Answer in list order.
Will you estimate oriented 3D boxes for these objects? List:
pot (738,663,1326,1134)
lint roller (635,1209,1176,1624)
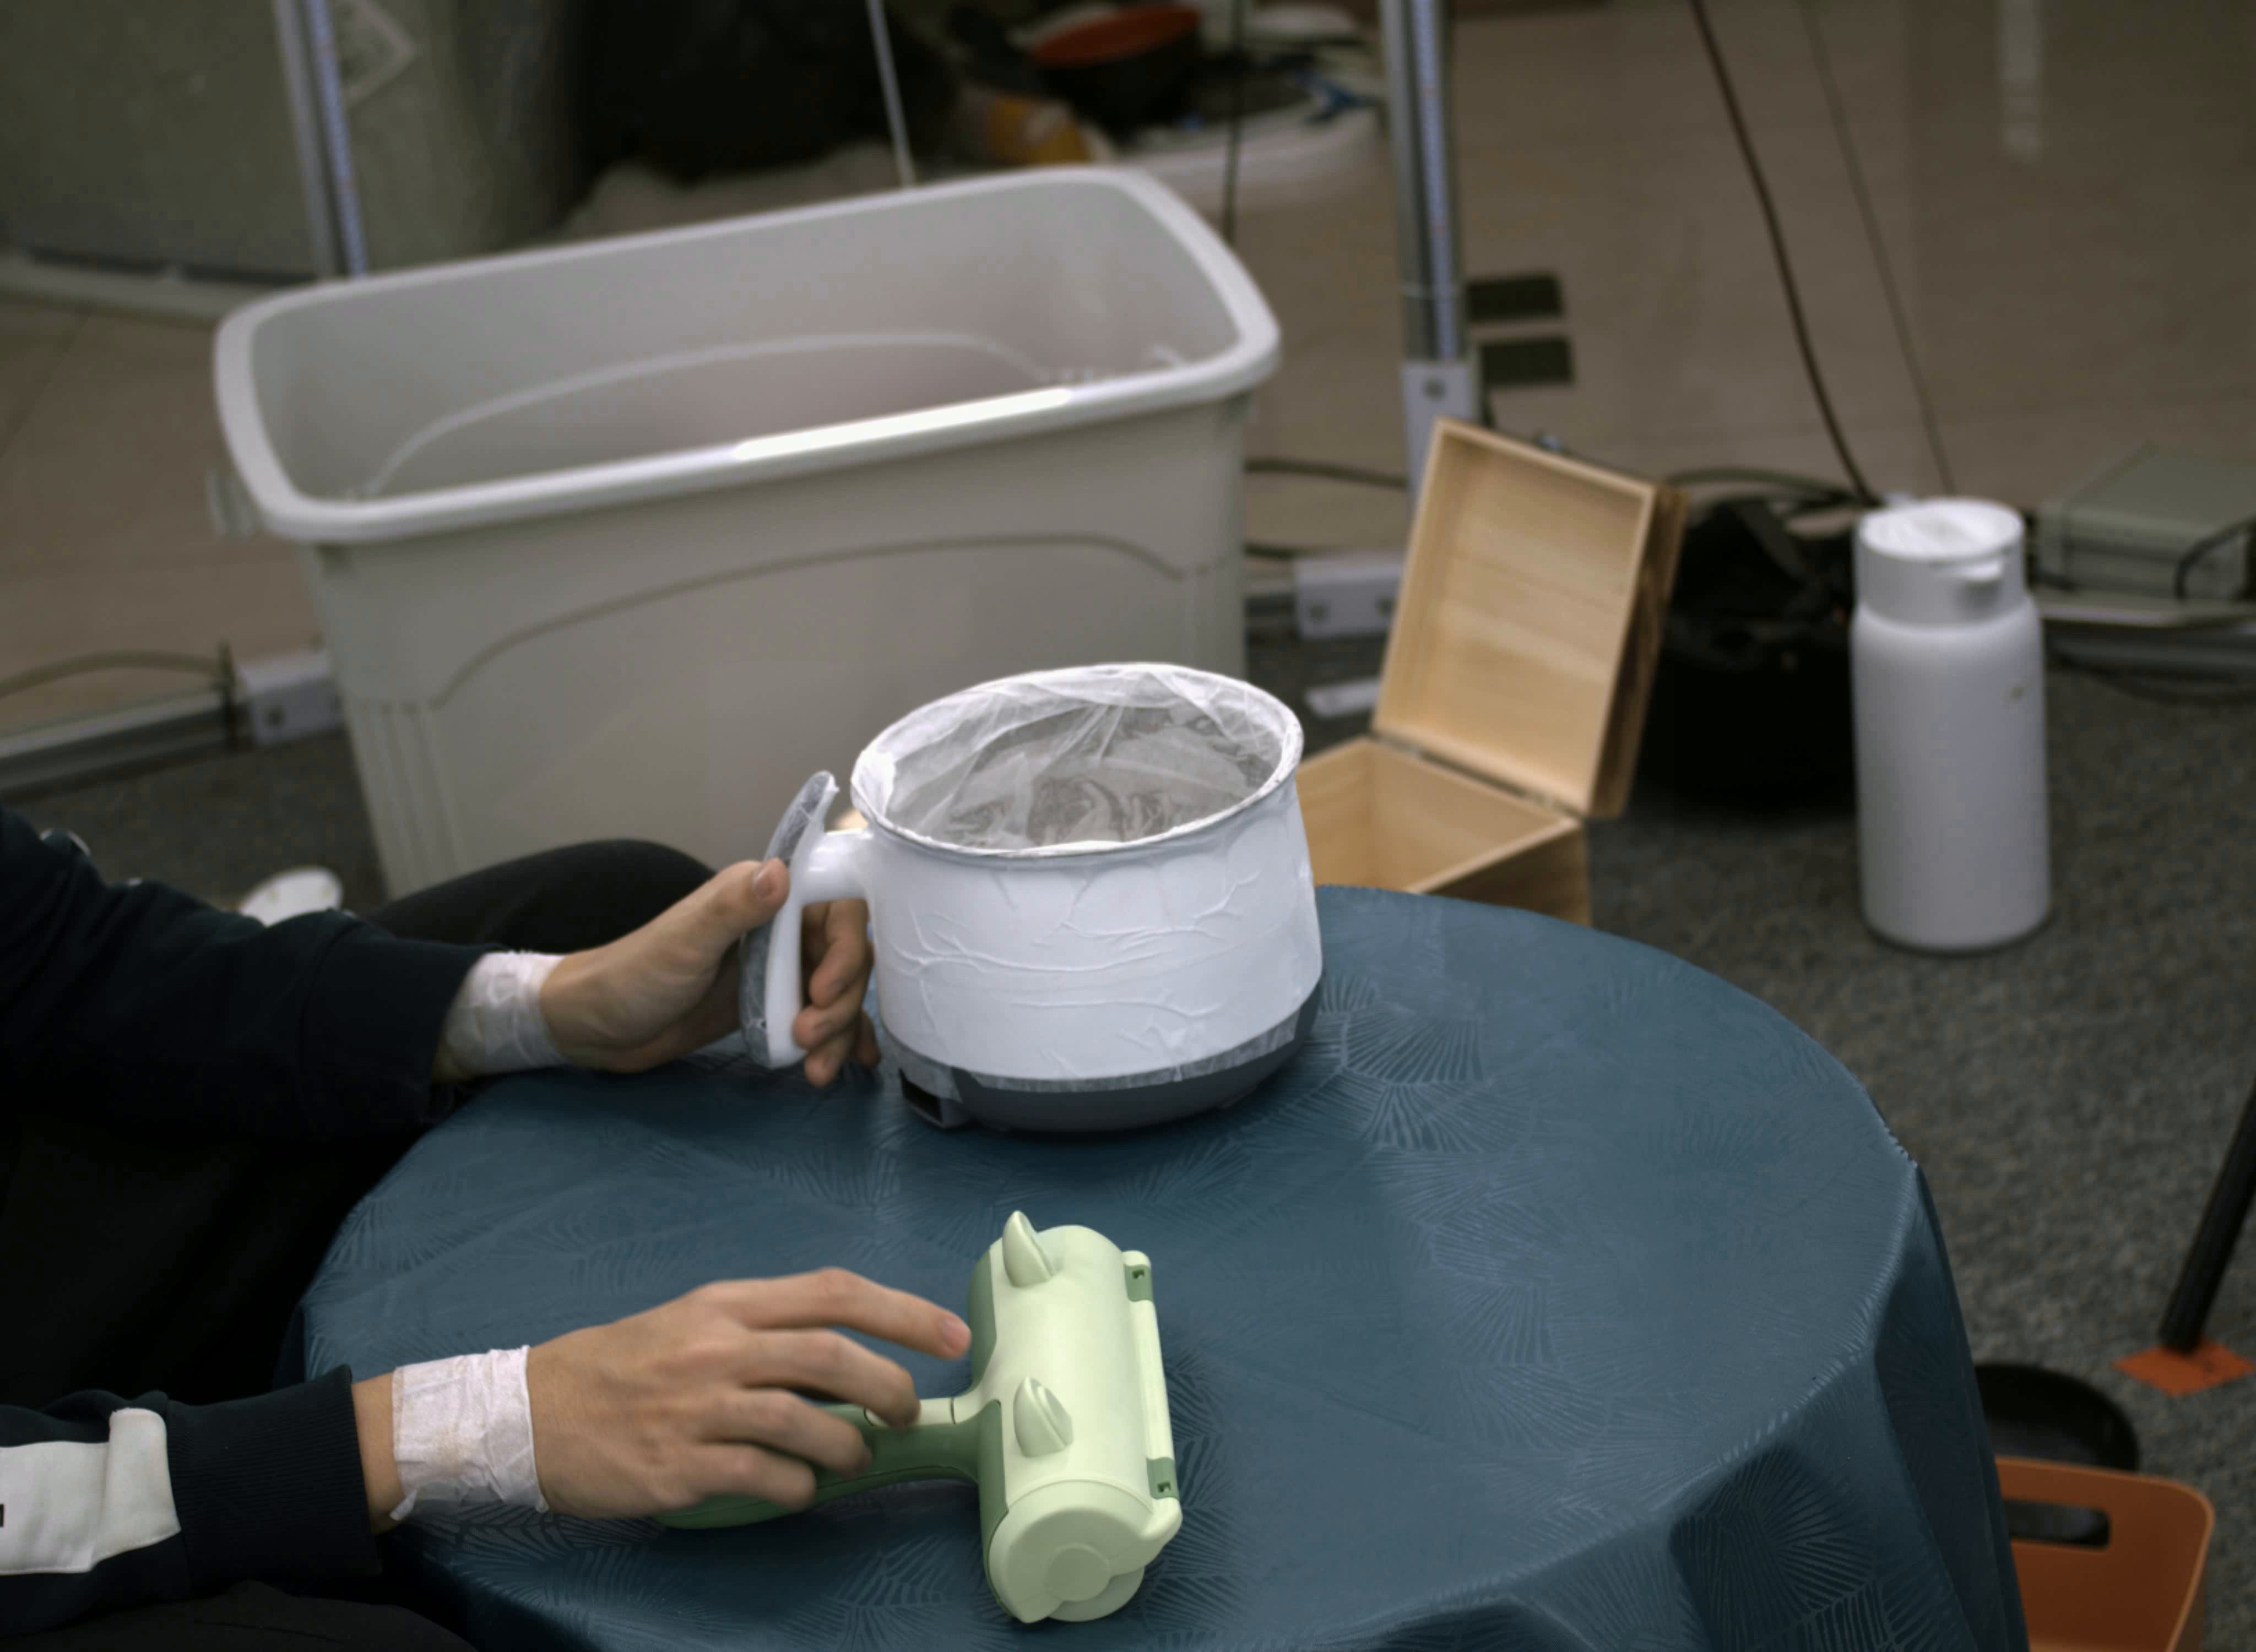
[{"bbox_3d":[-0.040,0.033,2.217,0.233,0.139,0.176,-6,25,0],"label":"pot"},{"bbox_3d":[-0.079,0.198,1.948,0.183,0.083,0.195,-2,25,-2],"label":"lint roller"}]
